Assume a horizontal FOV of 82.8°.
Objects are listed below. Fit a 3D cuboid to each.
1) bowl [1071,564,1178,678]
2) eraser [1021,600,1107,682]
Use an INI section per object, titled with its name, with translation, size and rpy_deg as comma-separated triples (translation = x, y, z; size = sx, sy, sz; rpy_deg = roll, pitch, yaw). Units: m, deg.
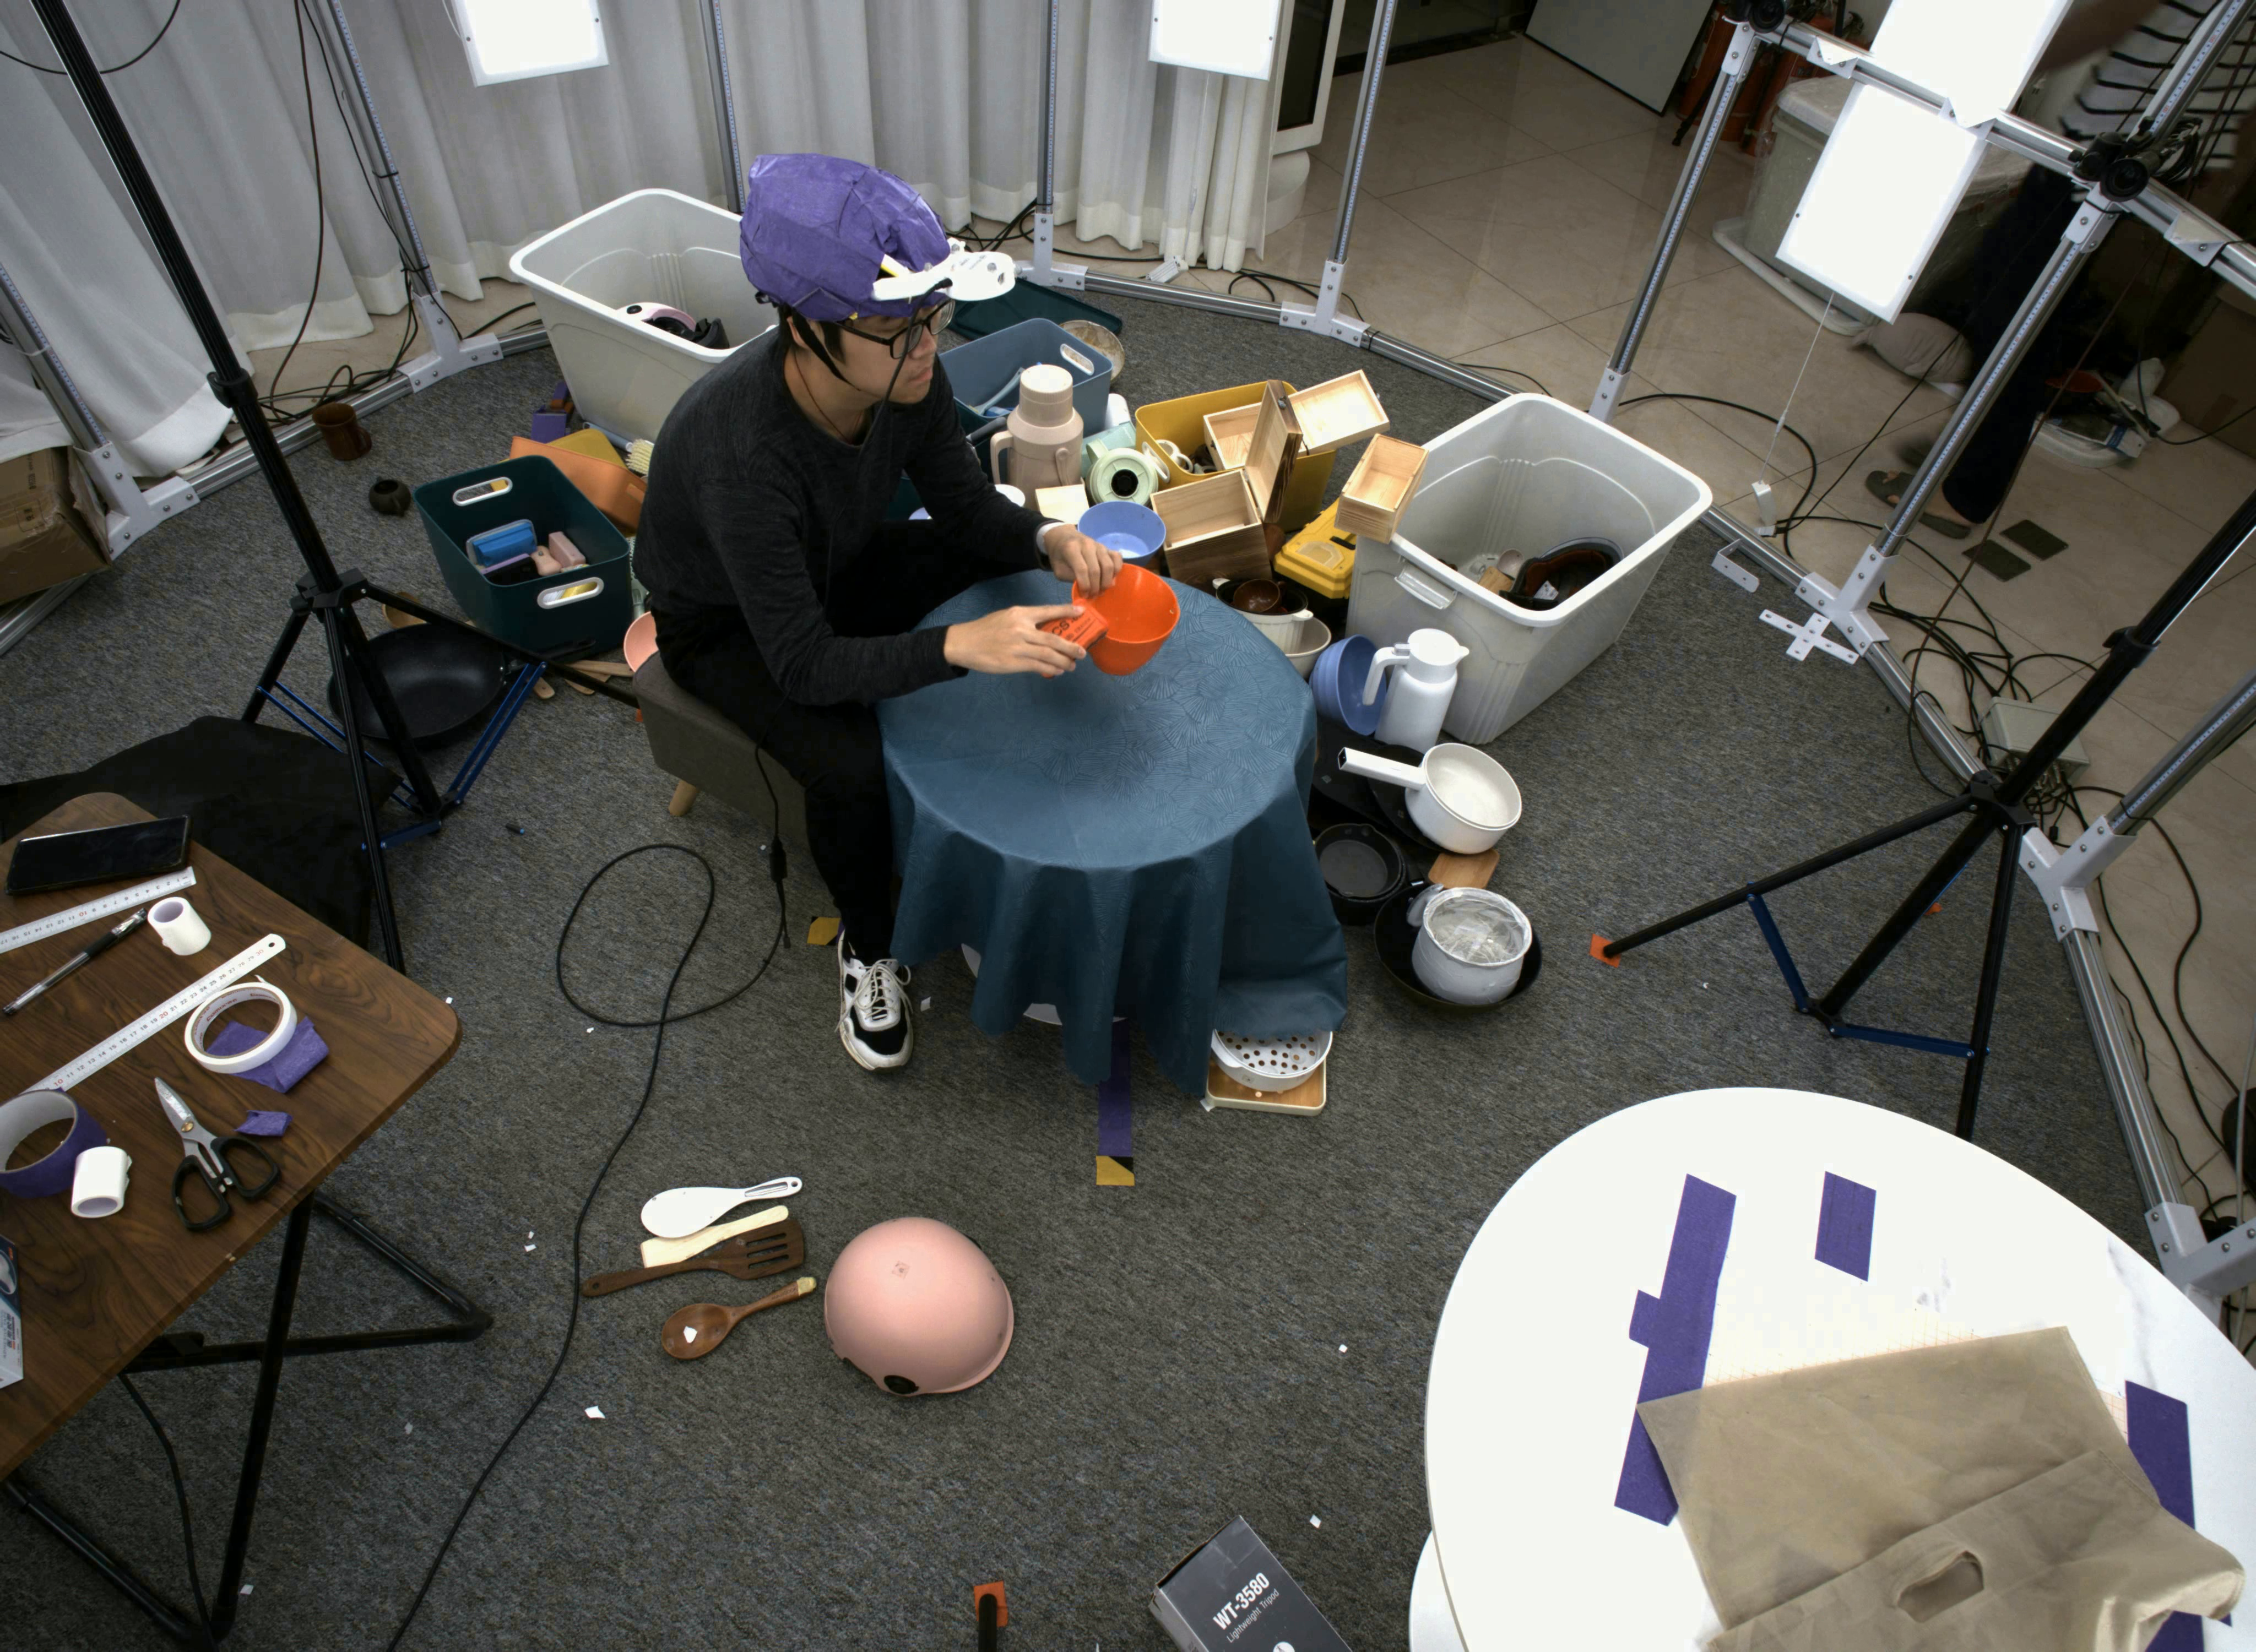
[bowl]
translation = -0.012, -0.270, 1.744
size = 0.147, 0.102, 0.152
rpy_deg = 8, 42, -7
[eraser]
translation = -0.082, -0.239, 1.655
size = 0.108, 0.022, 0.060
rpy_deg = -41, 71, -10
